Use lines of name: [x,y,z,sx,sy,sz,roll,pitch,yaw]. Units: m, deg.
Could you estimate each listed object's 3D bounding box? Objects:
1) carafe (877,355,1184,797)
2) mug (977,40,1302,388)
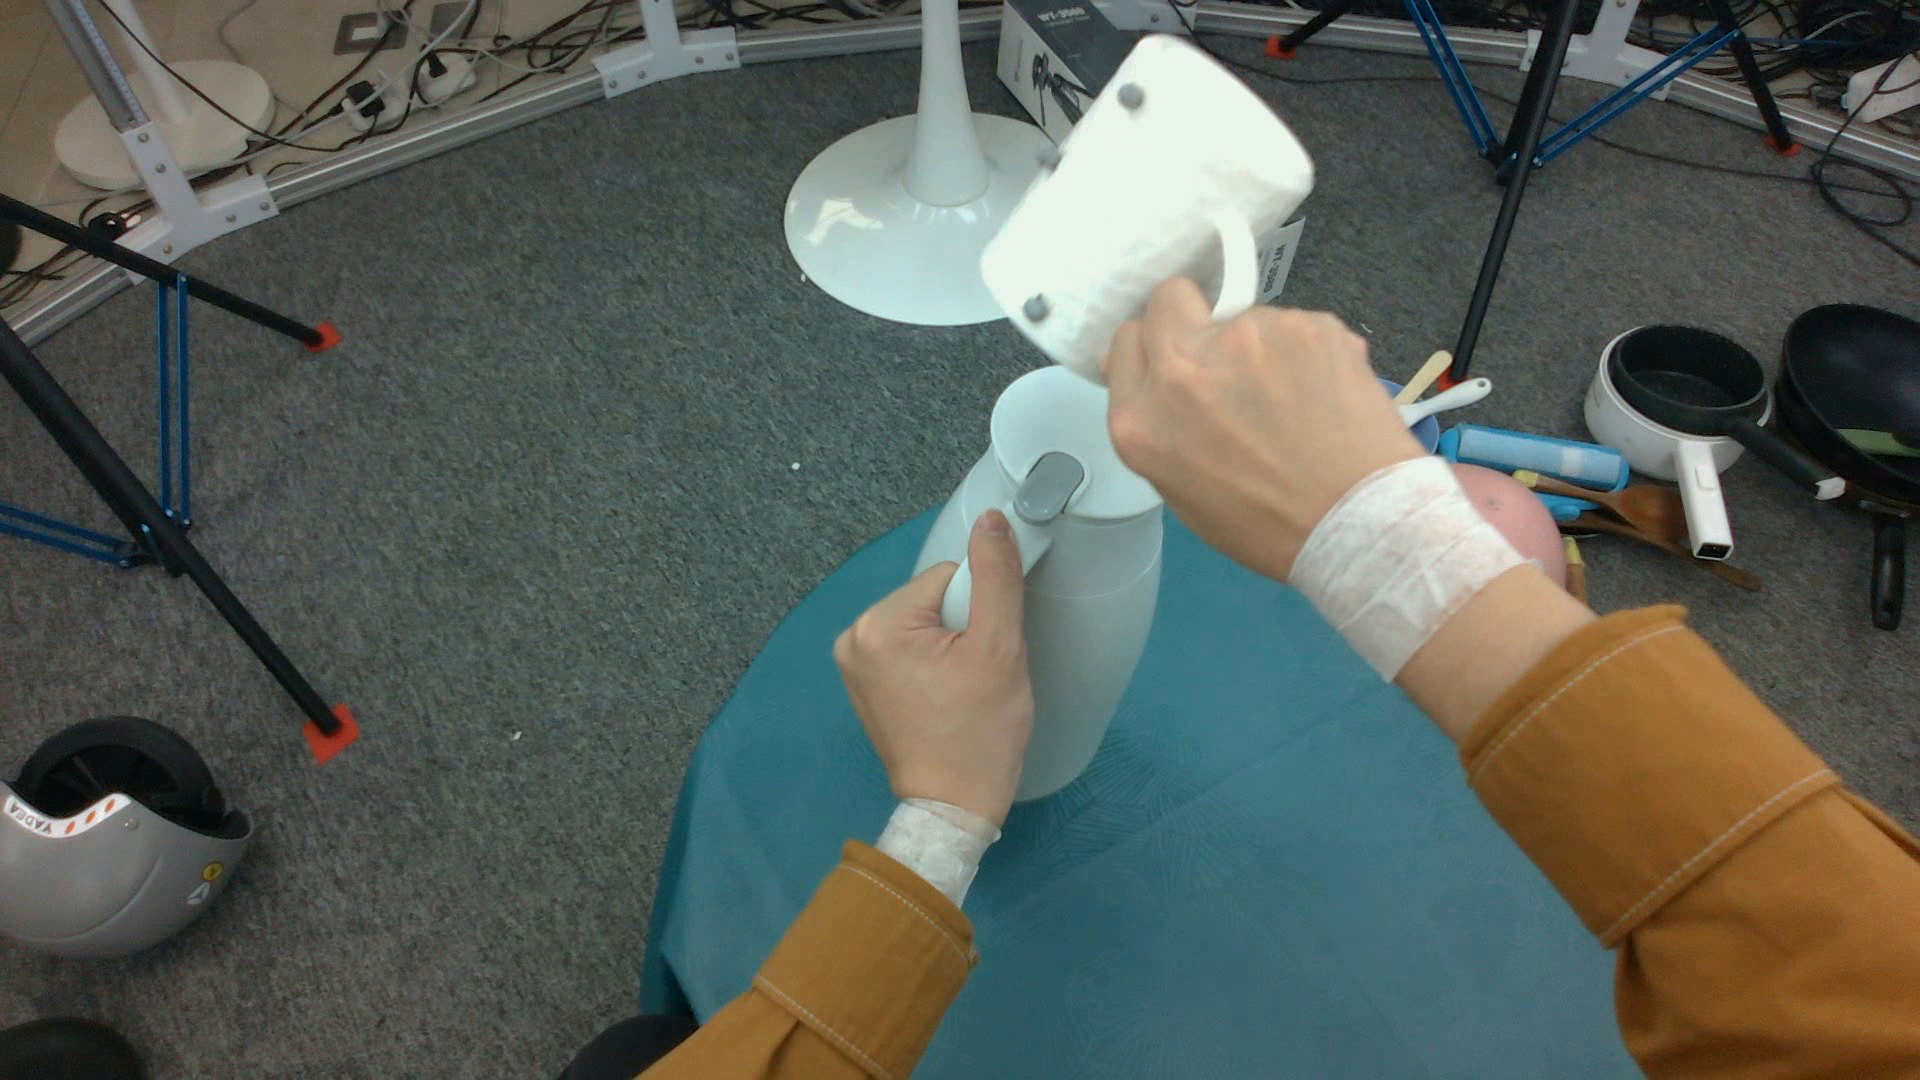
carafe: [0.028,0.031,0.701,0.132,0.247,0.168,33,54,12]
mug: [0.074,-0.116,0.523,0.085,0.101,0.118,16,38,-35]
